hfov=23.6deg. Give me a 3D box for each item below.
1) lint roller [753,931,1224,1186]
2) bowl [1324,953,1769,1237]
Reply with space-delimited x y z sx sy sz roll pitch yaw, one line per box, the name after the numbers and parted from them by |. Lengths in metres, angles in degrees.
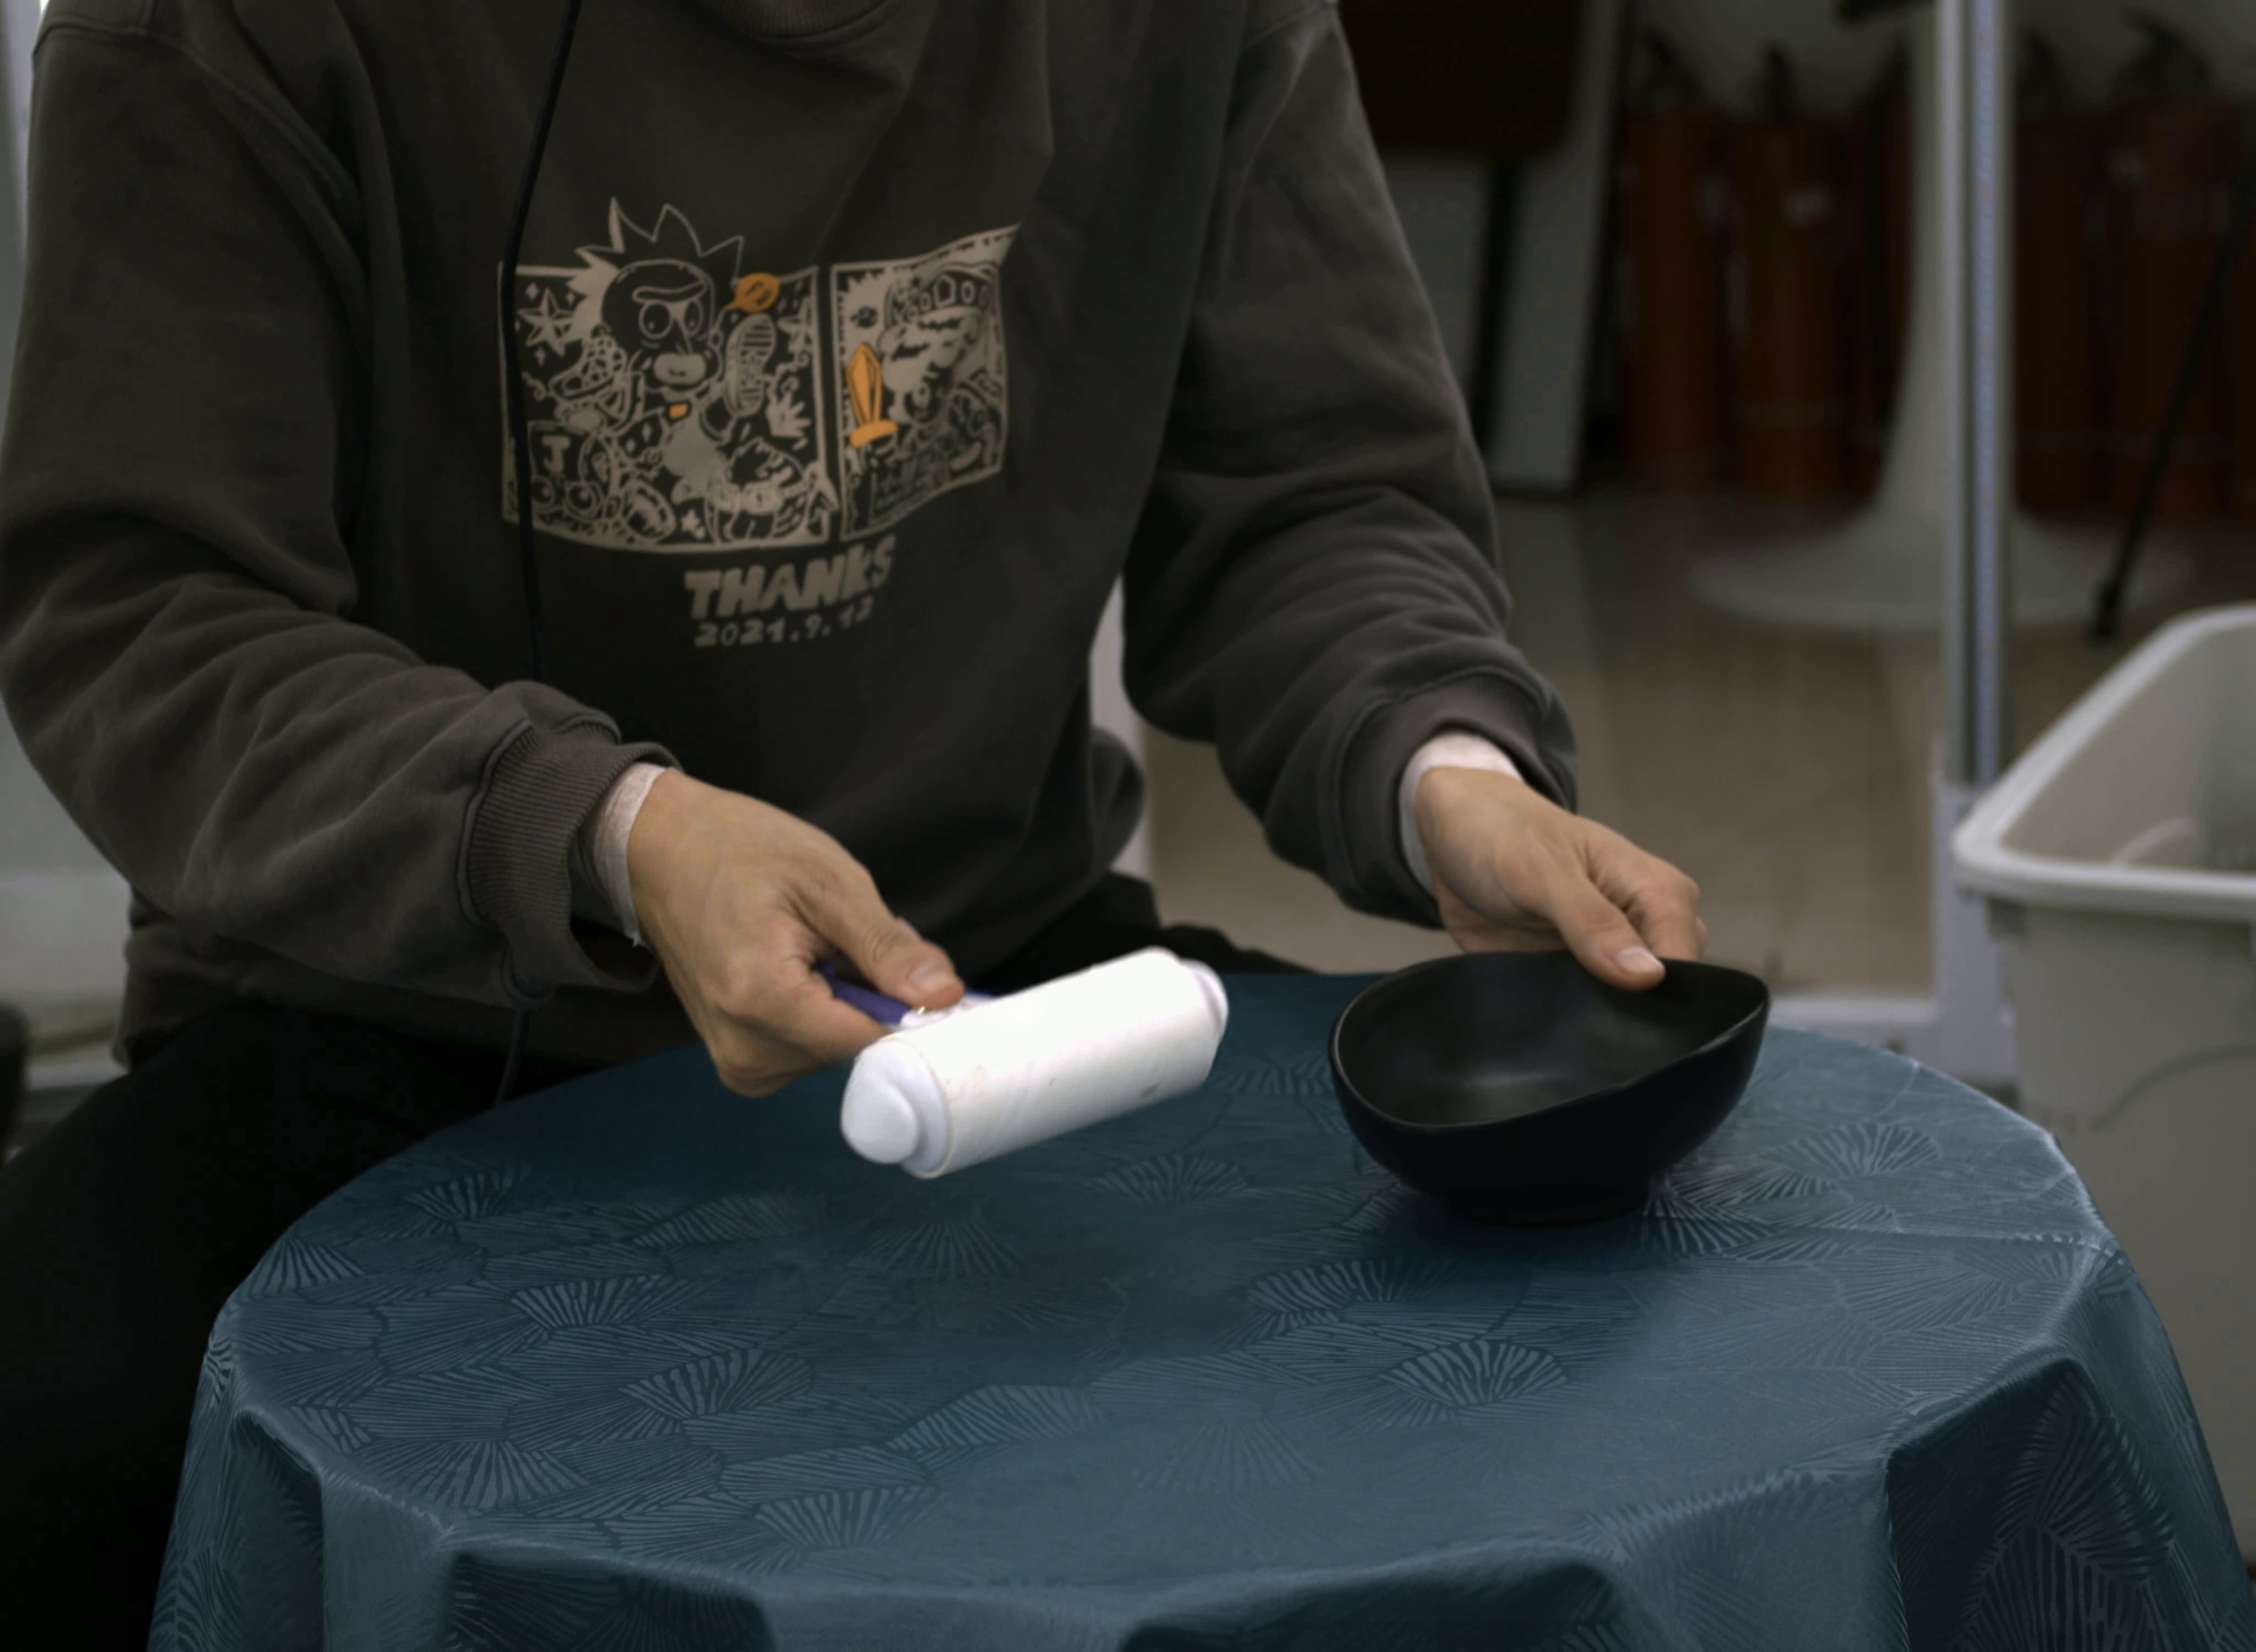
-0.064 0.053 1.702 0.130 0.050 0.183 -14 29 -30 | lint roller
0.136 0.091 1.730 0.138 0.067 0.168 3 16 31 | bowl
